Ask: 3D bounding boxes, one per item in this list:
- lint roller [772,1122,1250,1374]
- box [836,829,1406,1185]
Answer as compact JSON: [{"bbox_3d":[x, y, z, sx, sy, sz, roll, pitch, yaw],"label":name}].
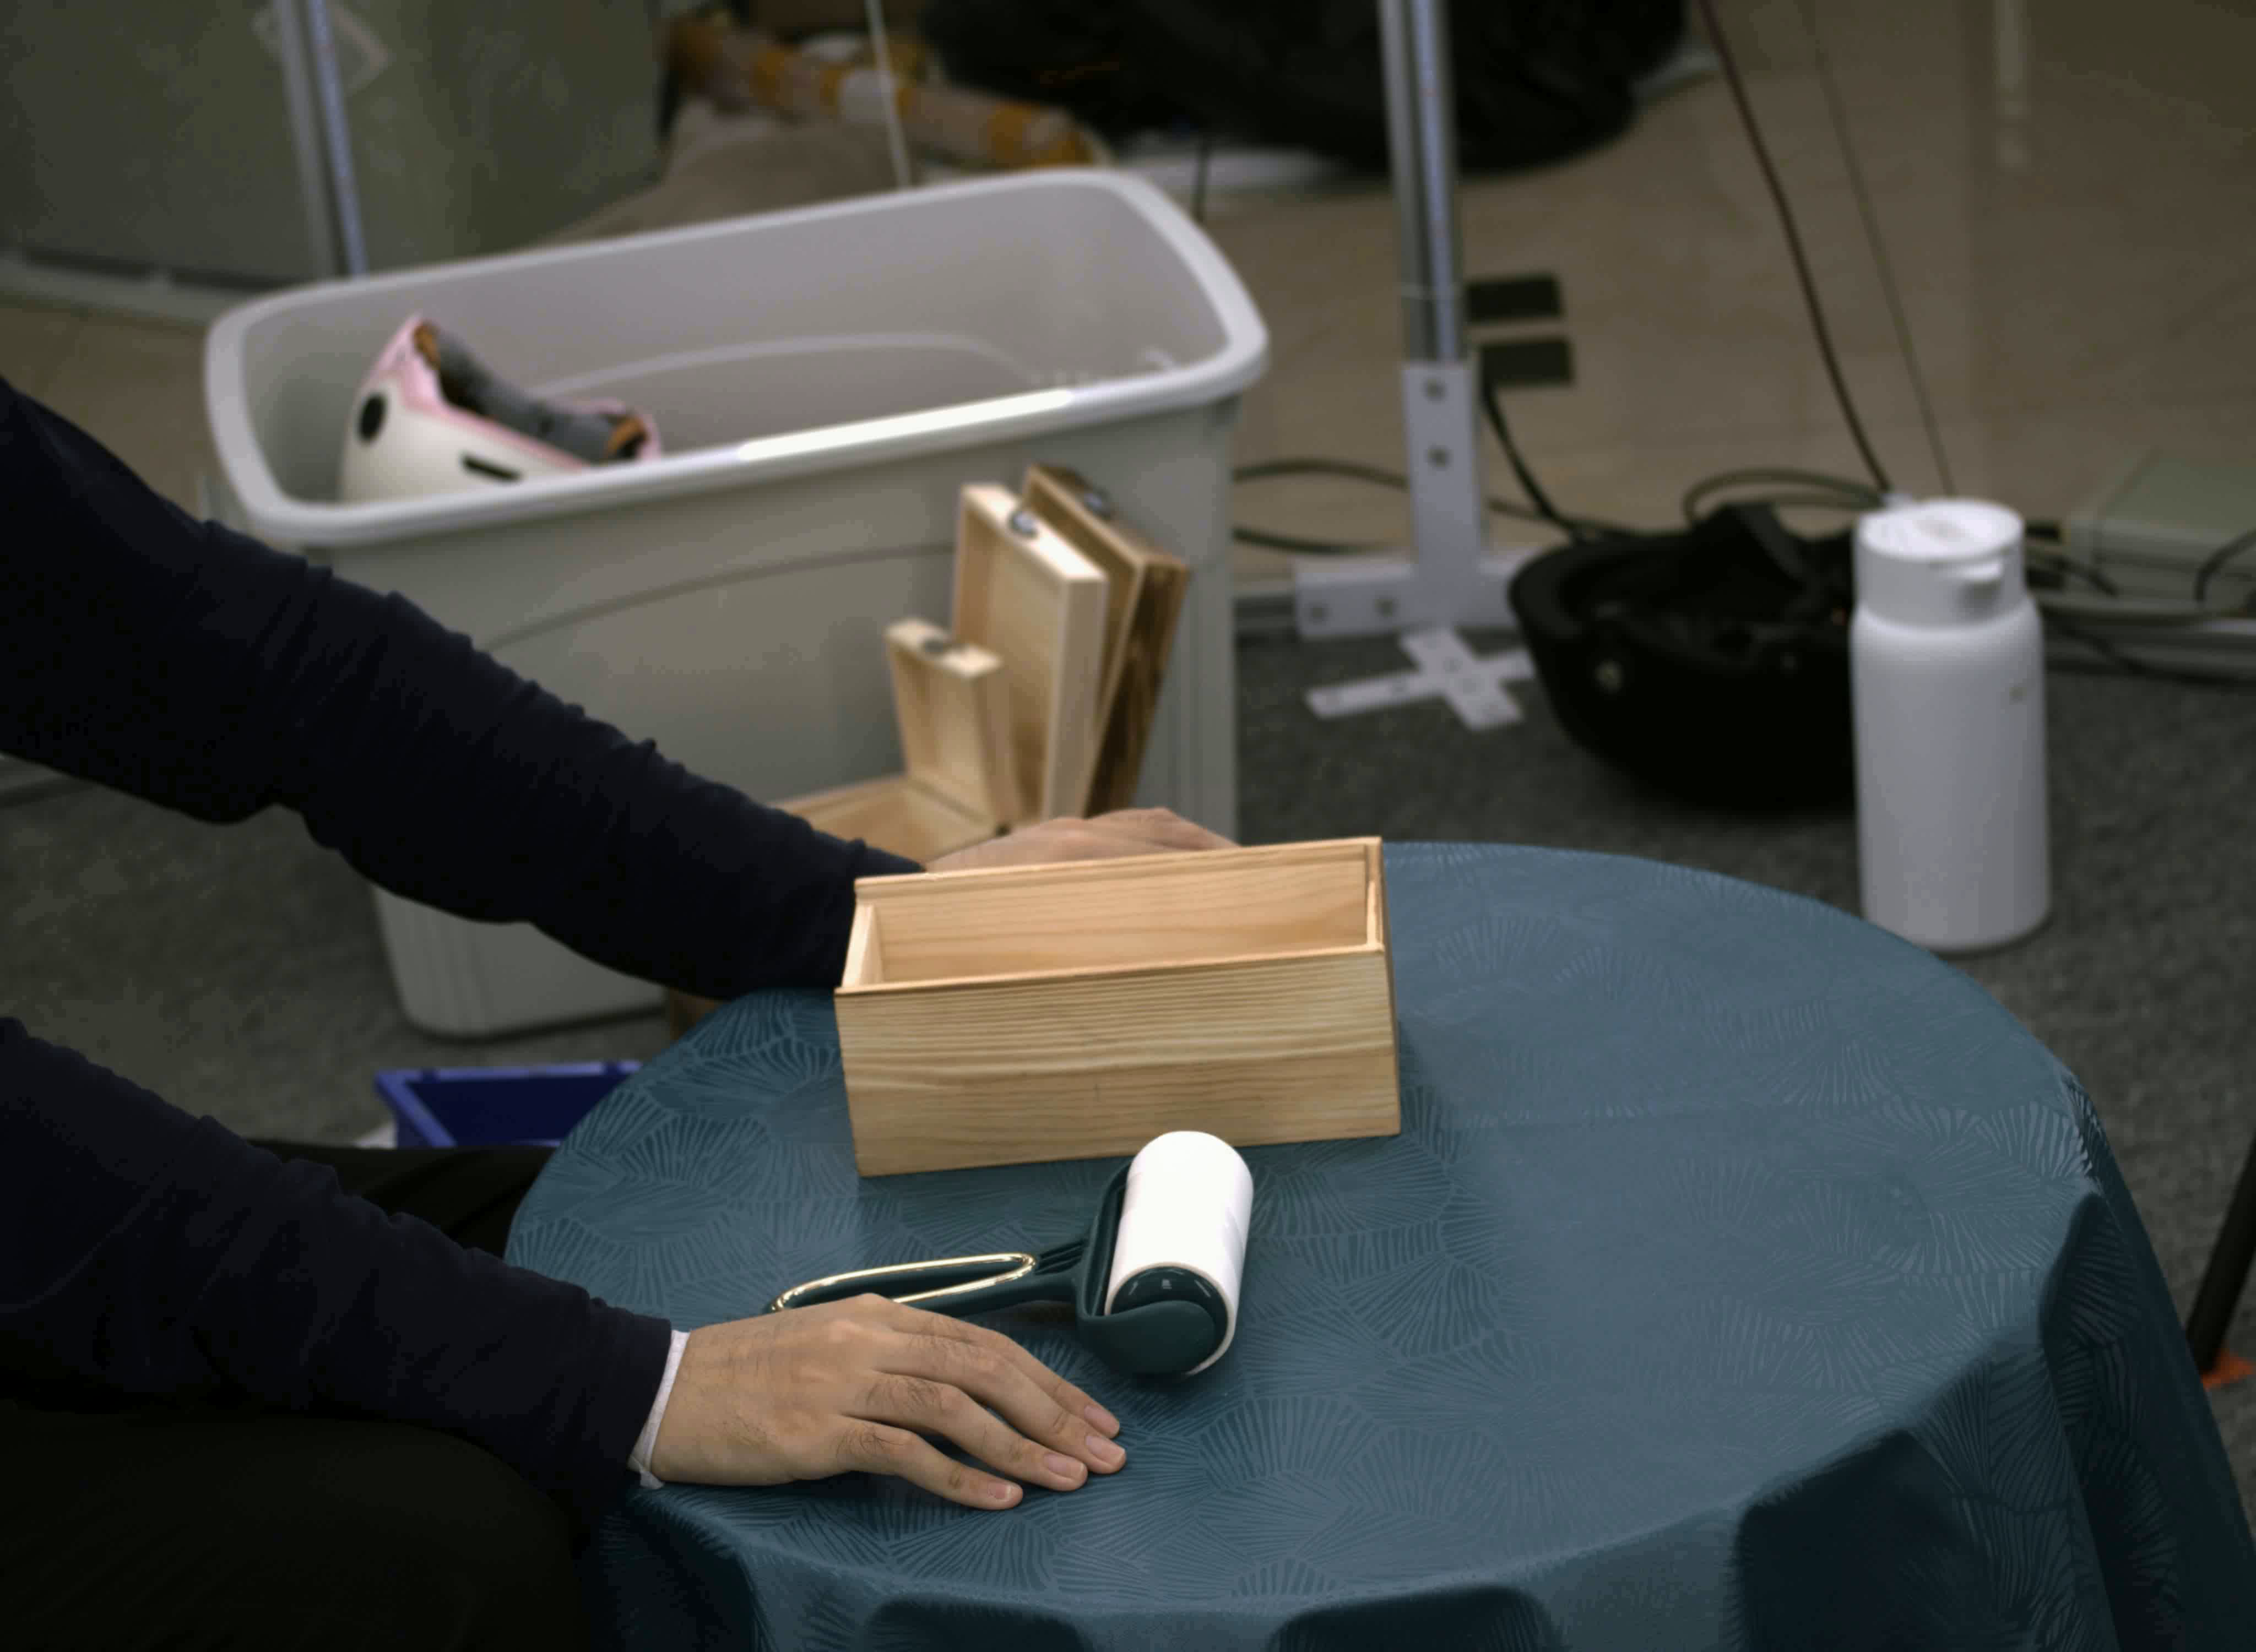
[{"bbox_3d":[-0.047,0.163,2.067,0.180,0.049,0.132,-8,25,9],"label":"lint roller"},{"bbox_3d":[-0.001,0.070,2.206,0.211,0.081,0.106,-6,26,4],"label":"box"}]
